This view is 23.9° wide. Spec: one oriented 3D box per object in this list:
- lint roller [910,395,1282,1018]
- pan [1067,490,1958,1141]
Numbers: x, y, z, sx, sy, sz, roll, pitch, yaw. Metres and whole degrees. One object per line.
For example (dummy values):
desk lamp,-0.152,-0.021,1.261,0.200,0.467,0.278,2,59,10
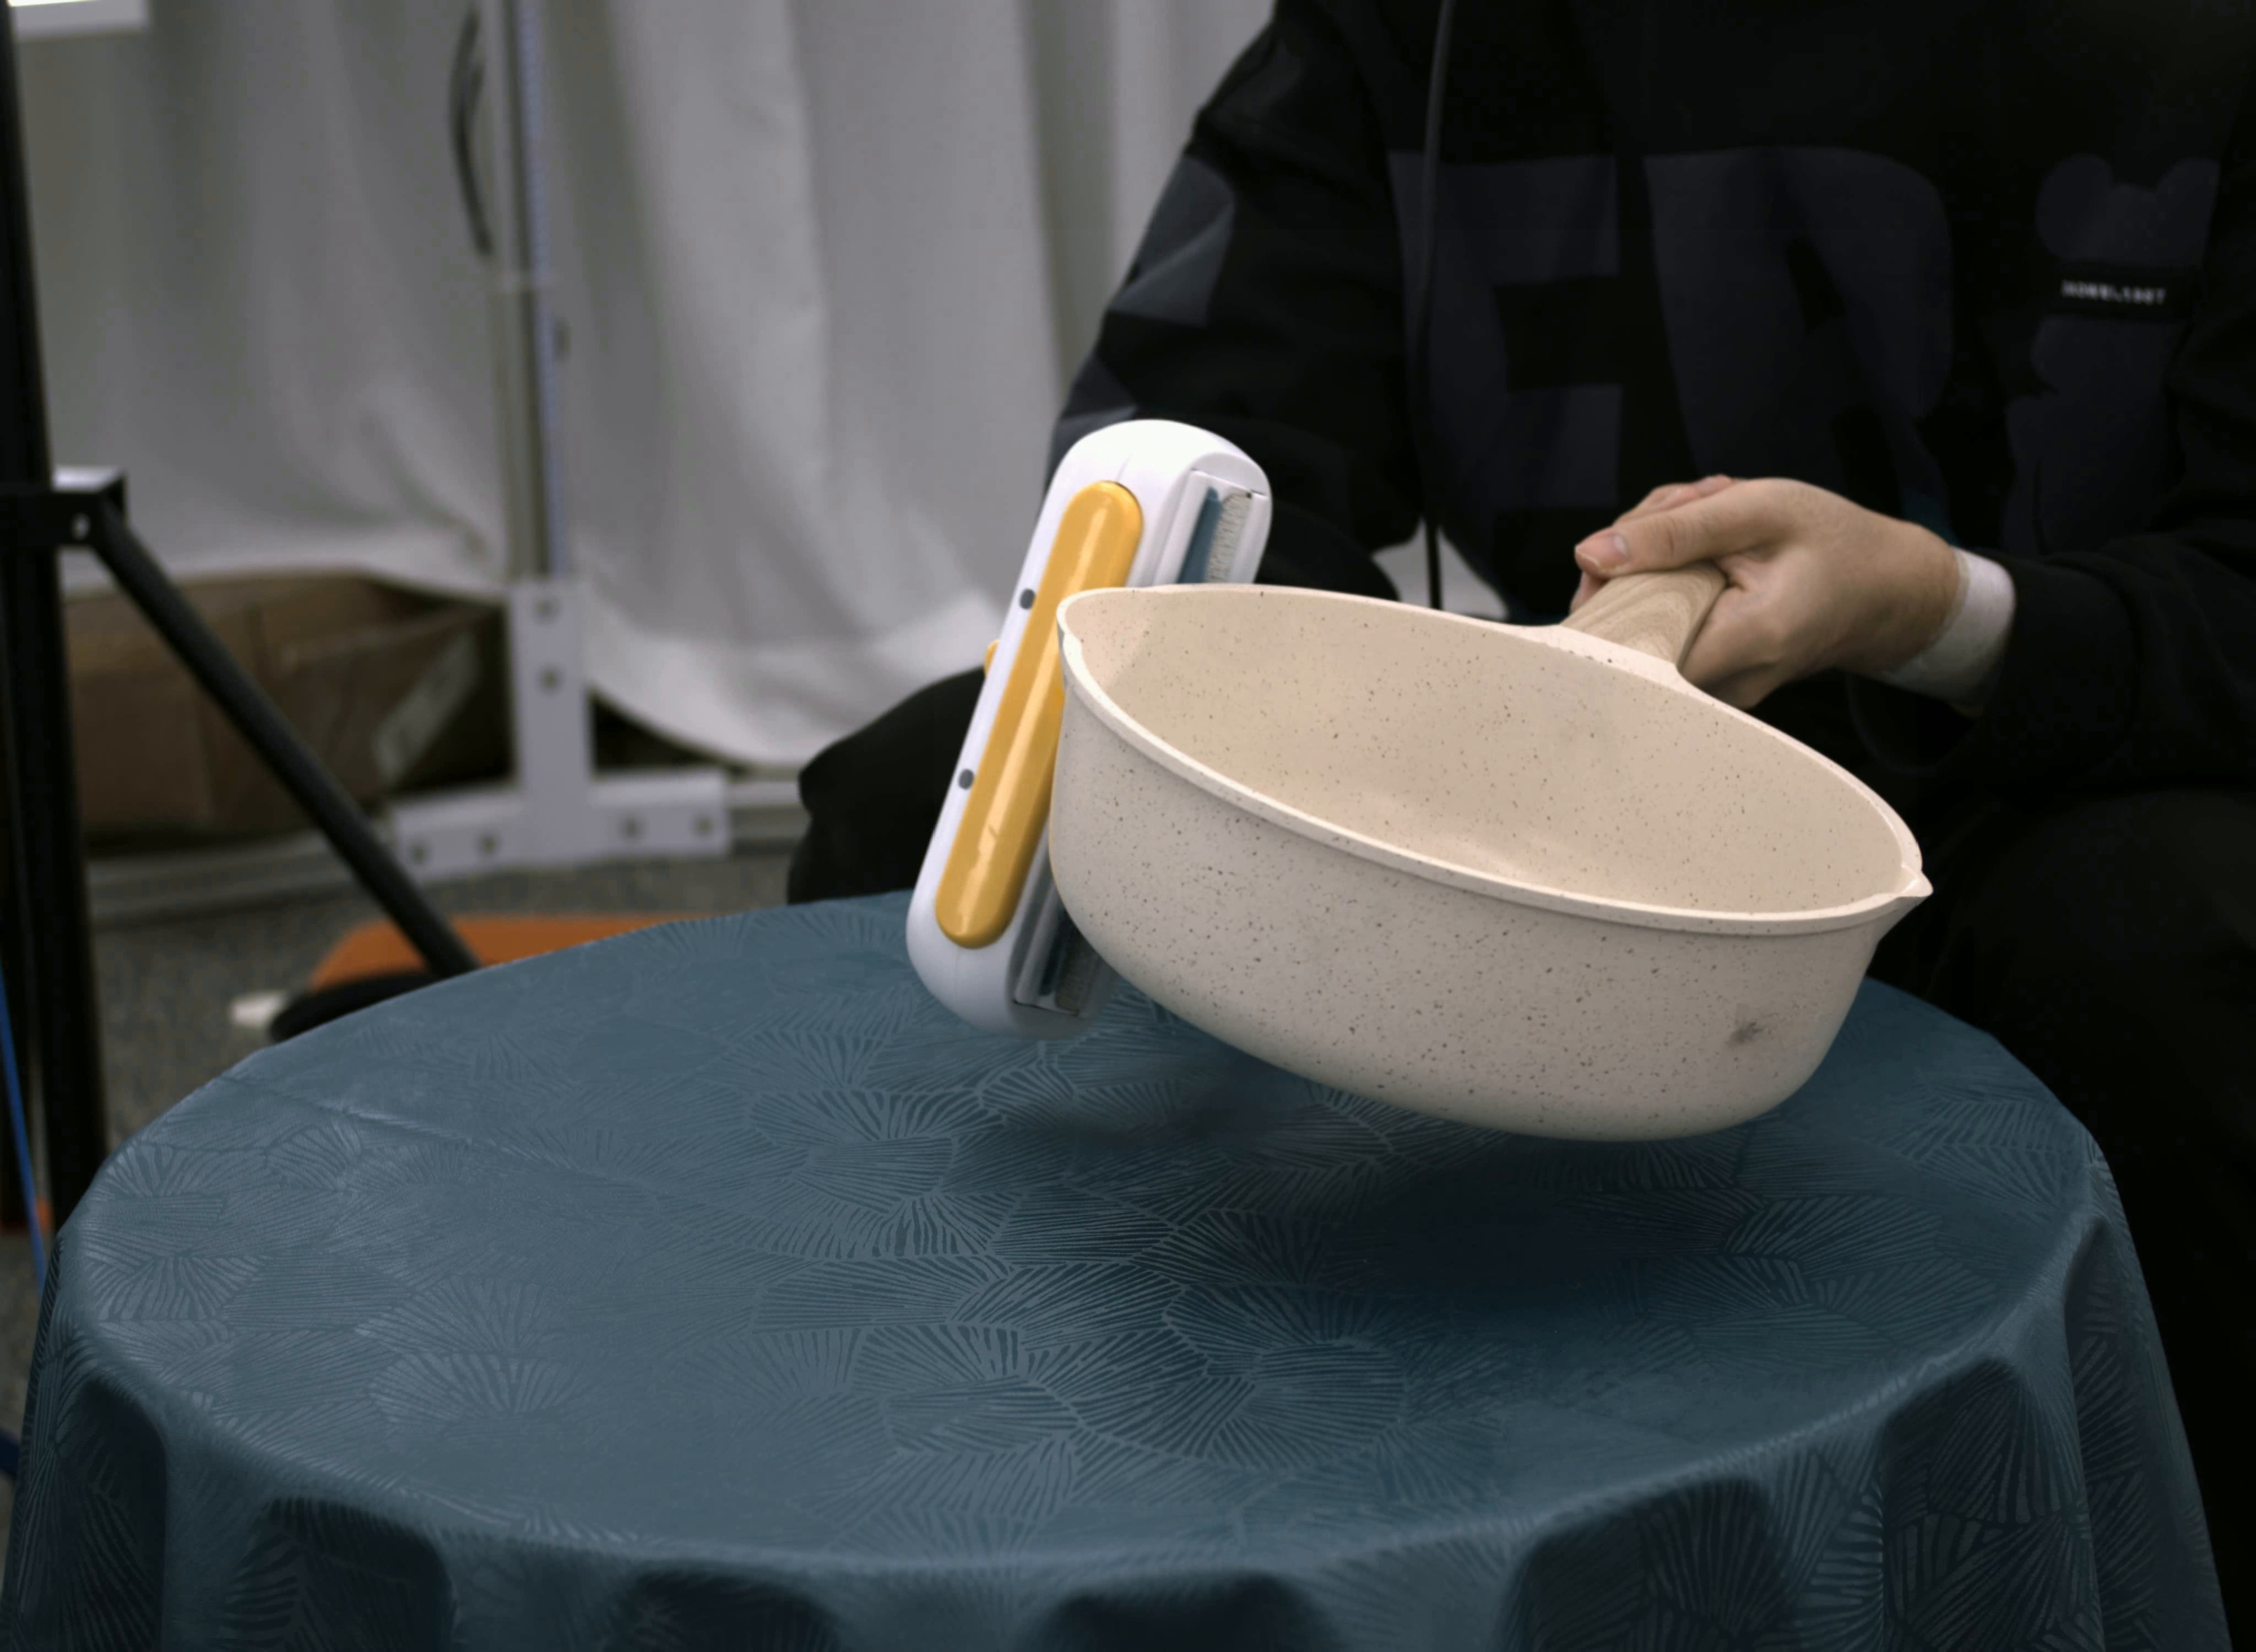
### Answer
lint roller,0.007,-0.029,1.666,0.075,0.194,0.188,15,-3,25
pan,0.129,-0.013,1.589,0.266,0.102,0.430,17,18,15
